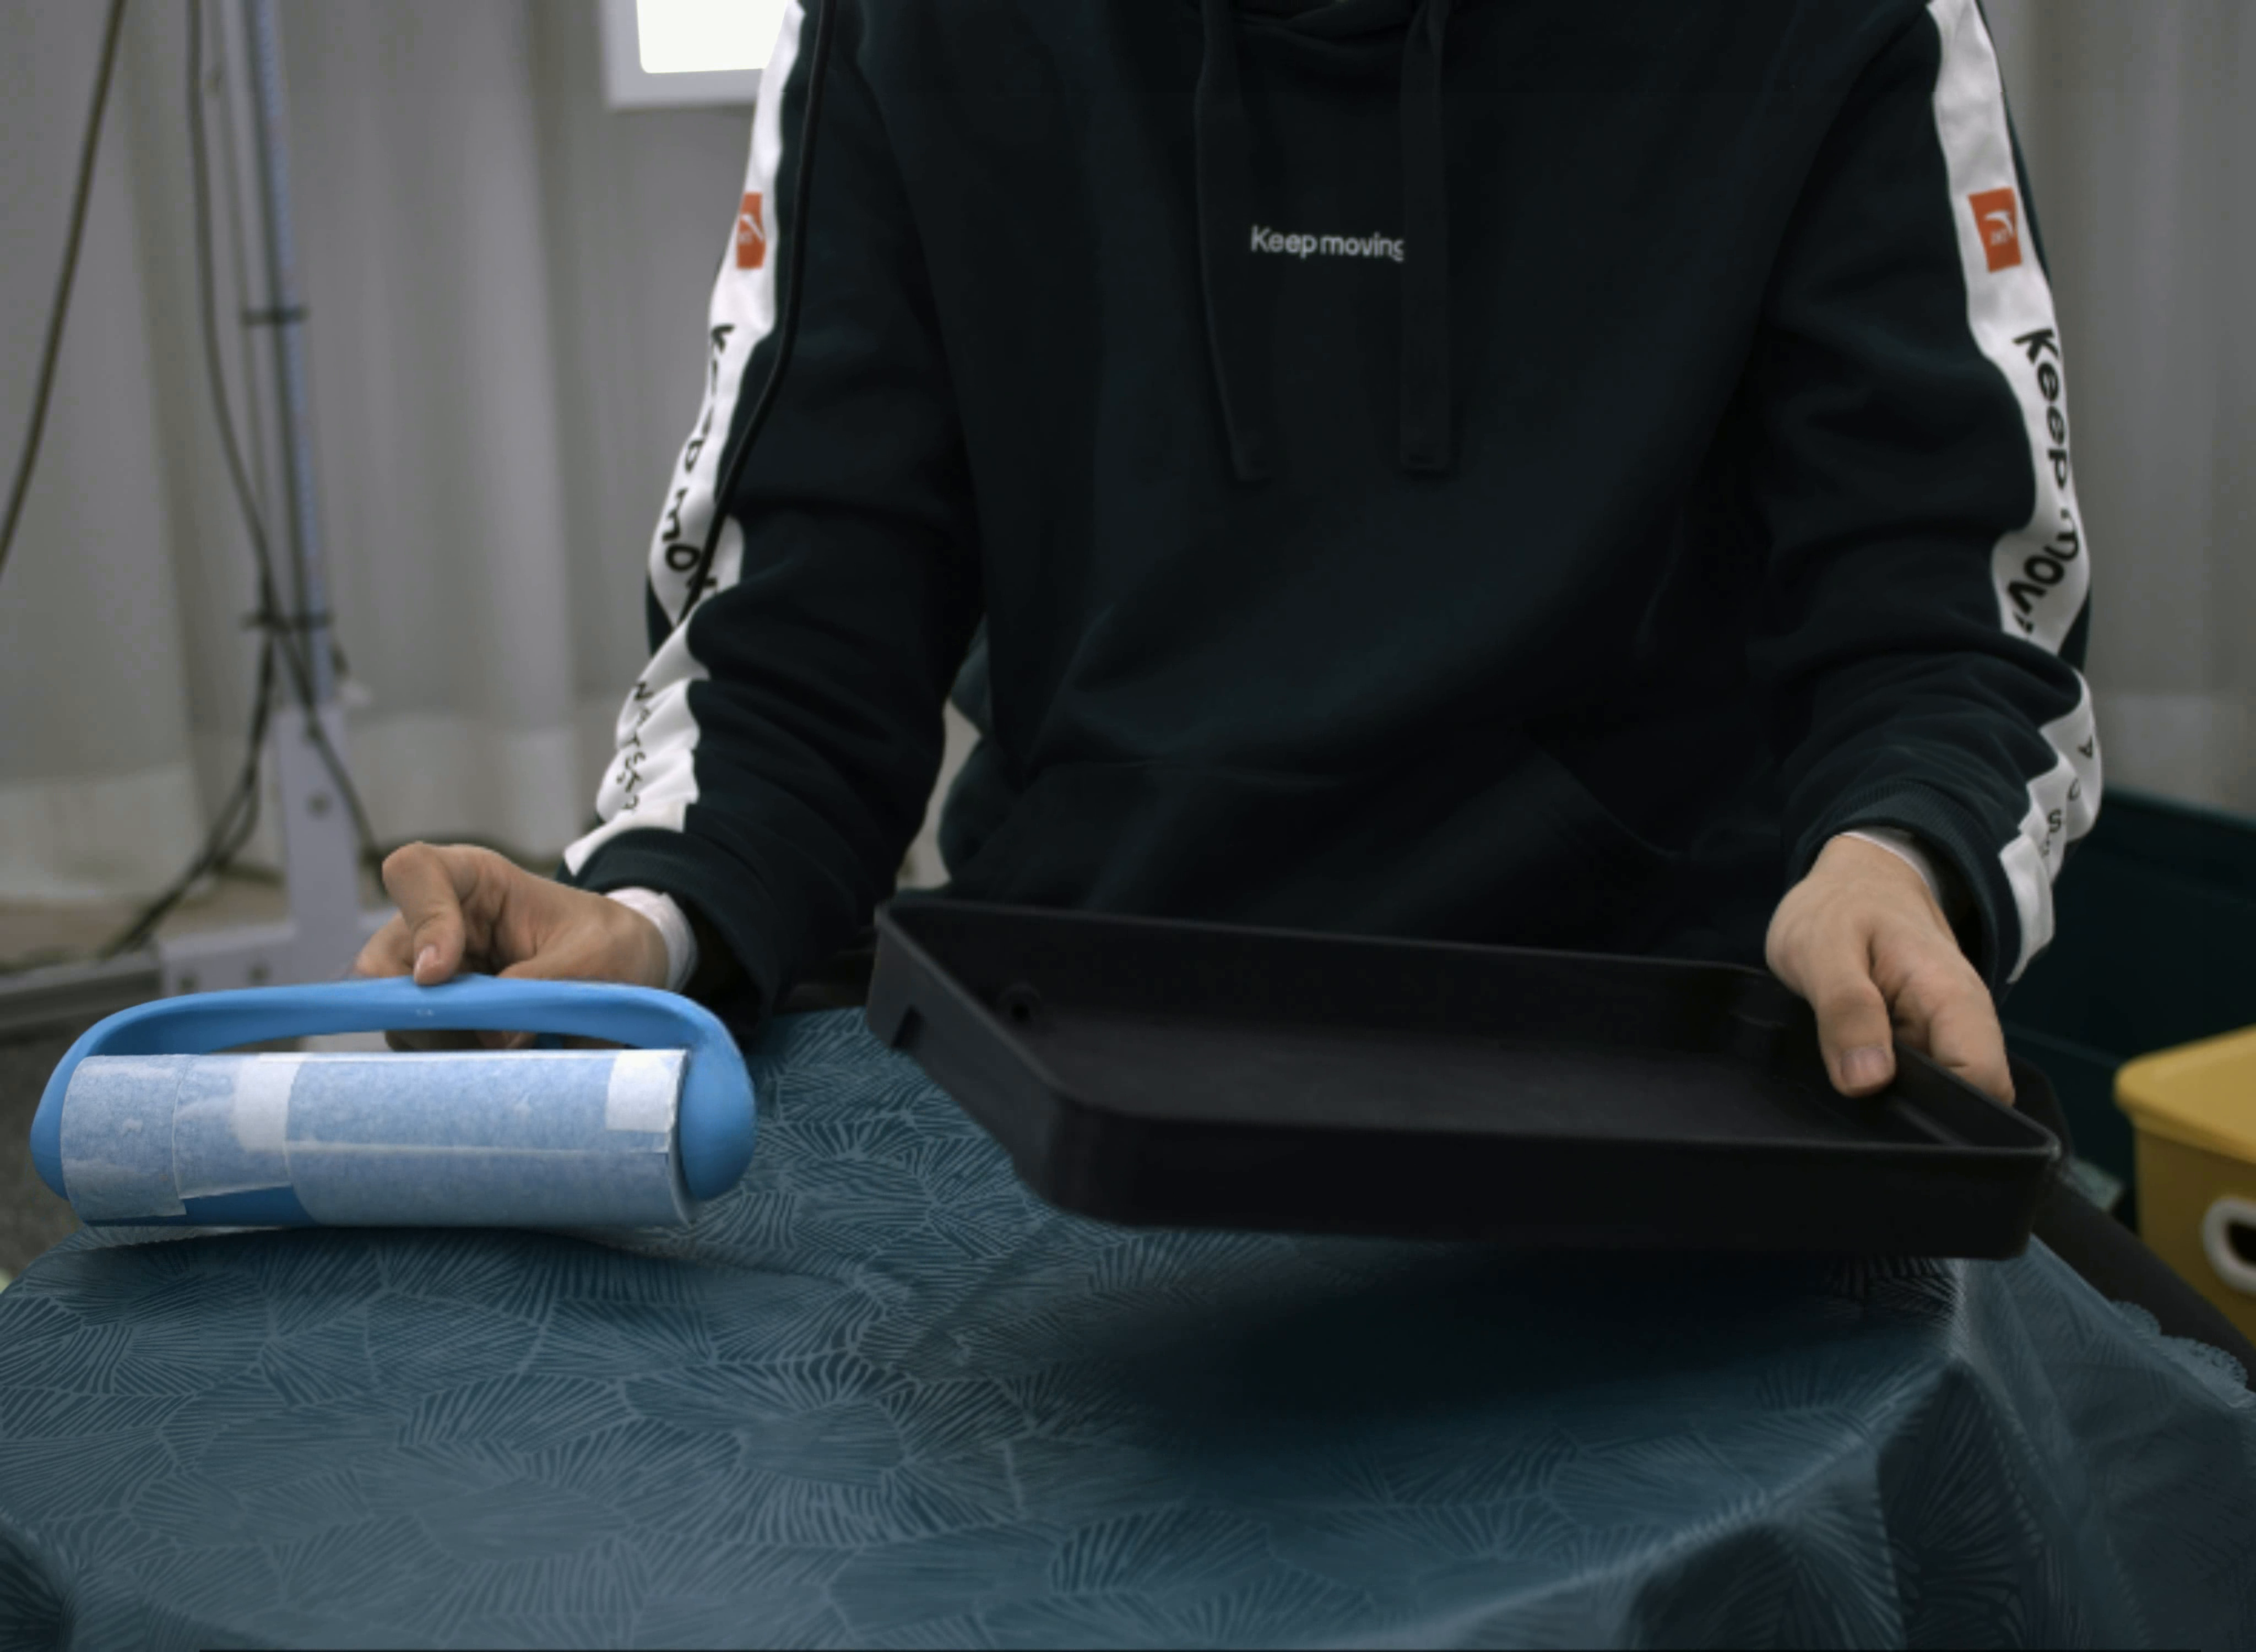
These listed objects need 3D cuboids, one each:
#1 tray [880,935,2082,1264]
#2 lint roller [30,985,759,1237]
[{"bbox_3d":[0.099,0.078,1.578,0.316,0.037,0.186,2,15,-25],"label":"tray"},{"bbox_3d":[-0.217,0.080,1.725,0.228,0.067,0.181,-3,15,9],"label":"lint roller"}]
